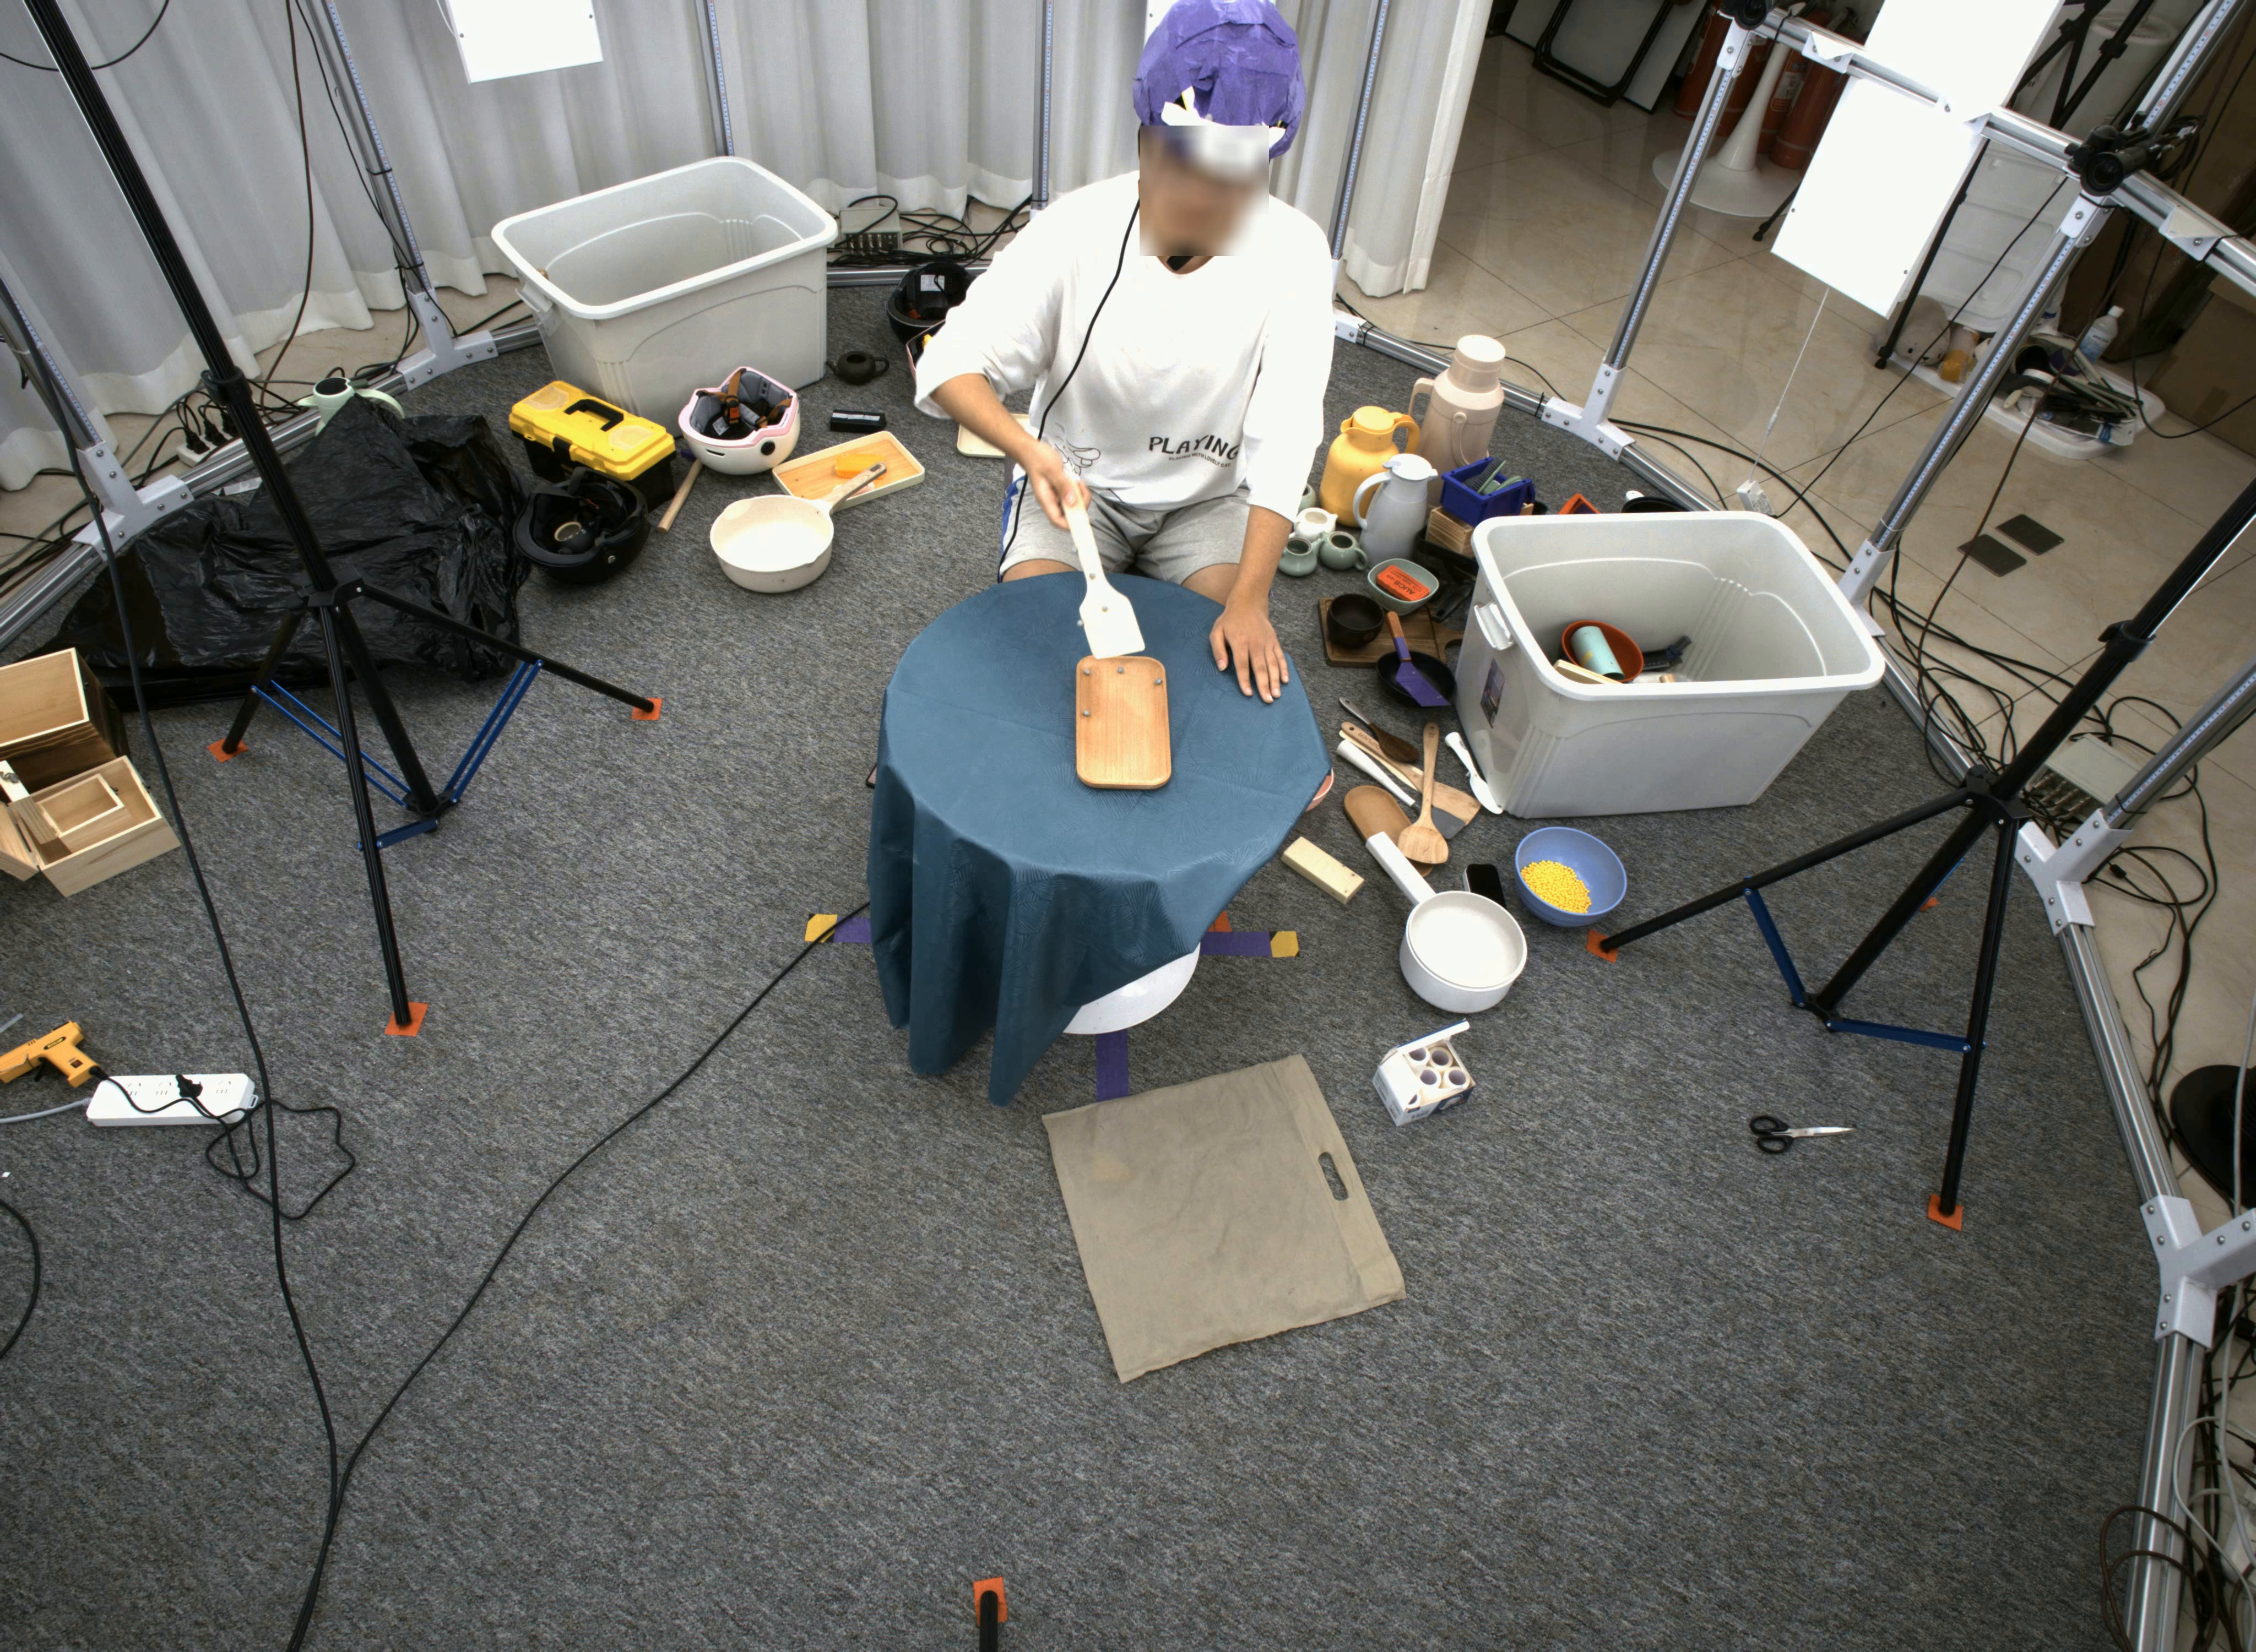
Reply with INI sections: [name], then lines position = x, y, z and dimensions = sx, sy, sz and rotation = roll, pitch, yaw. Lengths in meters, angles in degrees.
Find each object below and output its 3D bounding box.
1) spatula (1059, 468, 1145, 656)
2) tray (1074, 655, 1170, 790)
[spatula]
position = -0.048, -0.363, 1.746
dimensions = 0.072, 0.010, 0.298
rotation = -13, 69, -9
[tray]
position = -0.009, -0.146, 1.780
dimensions = 0.130, 0.022, 0.257
rotation = 1, 49, 0
